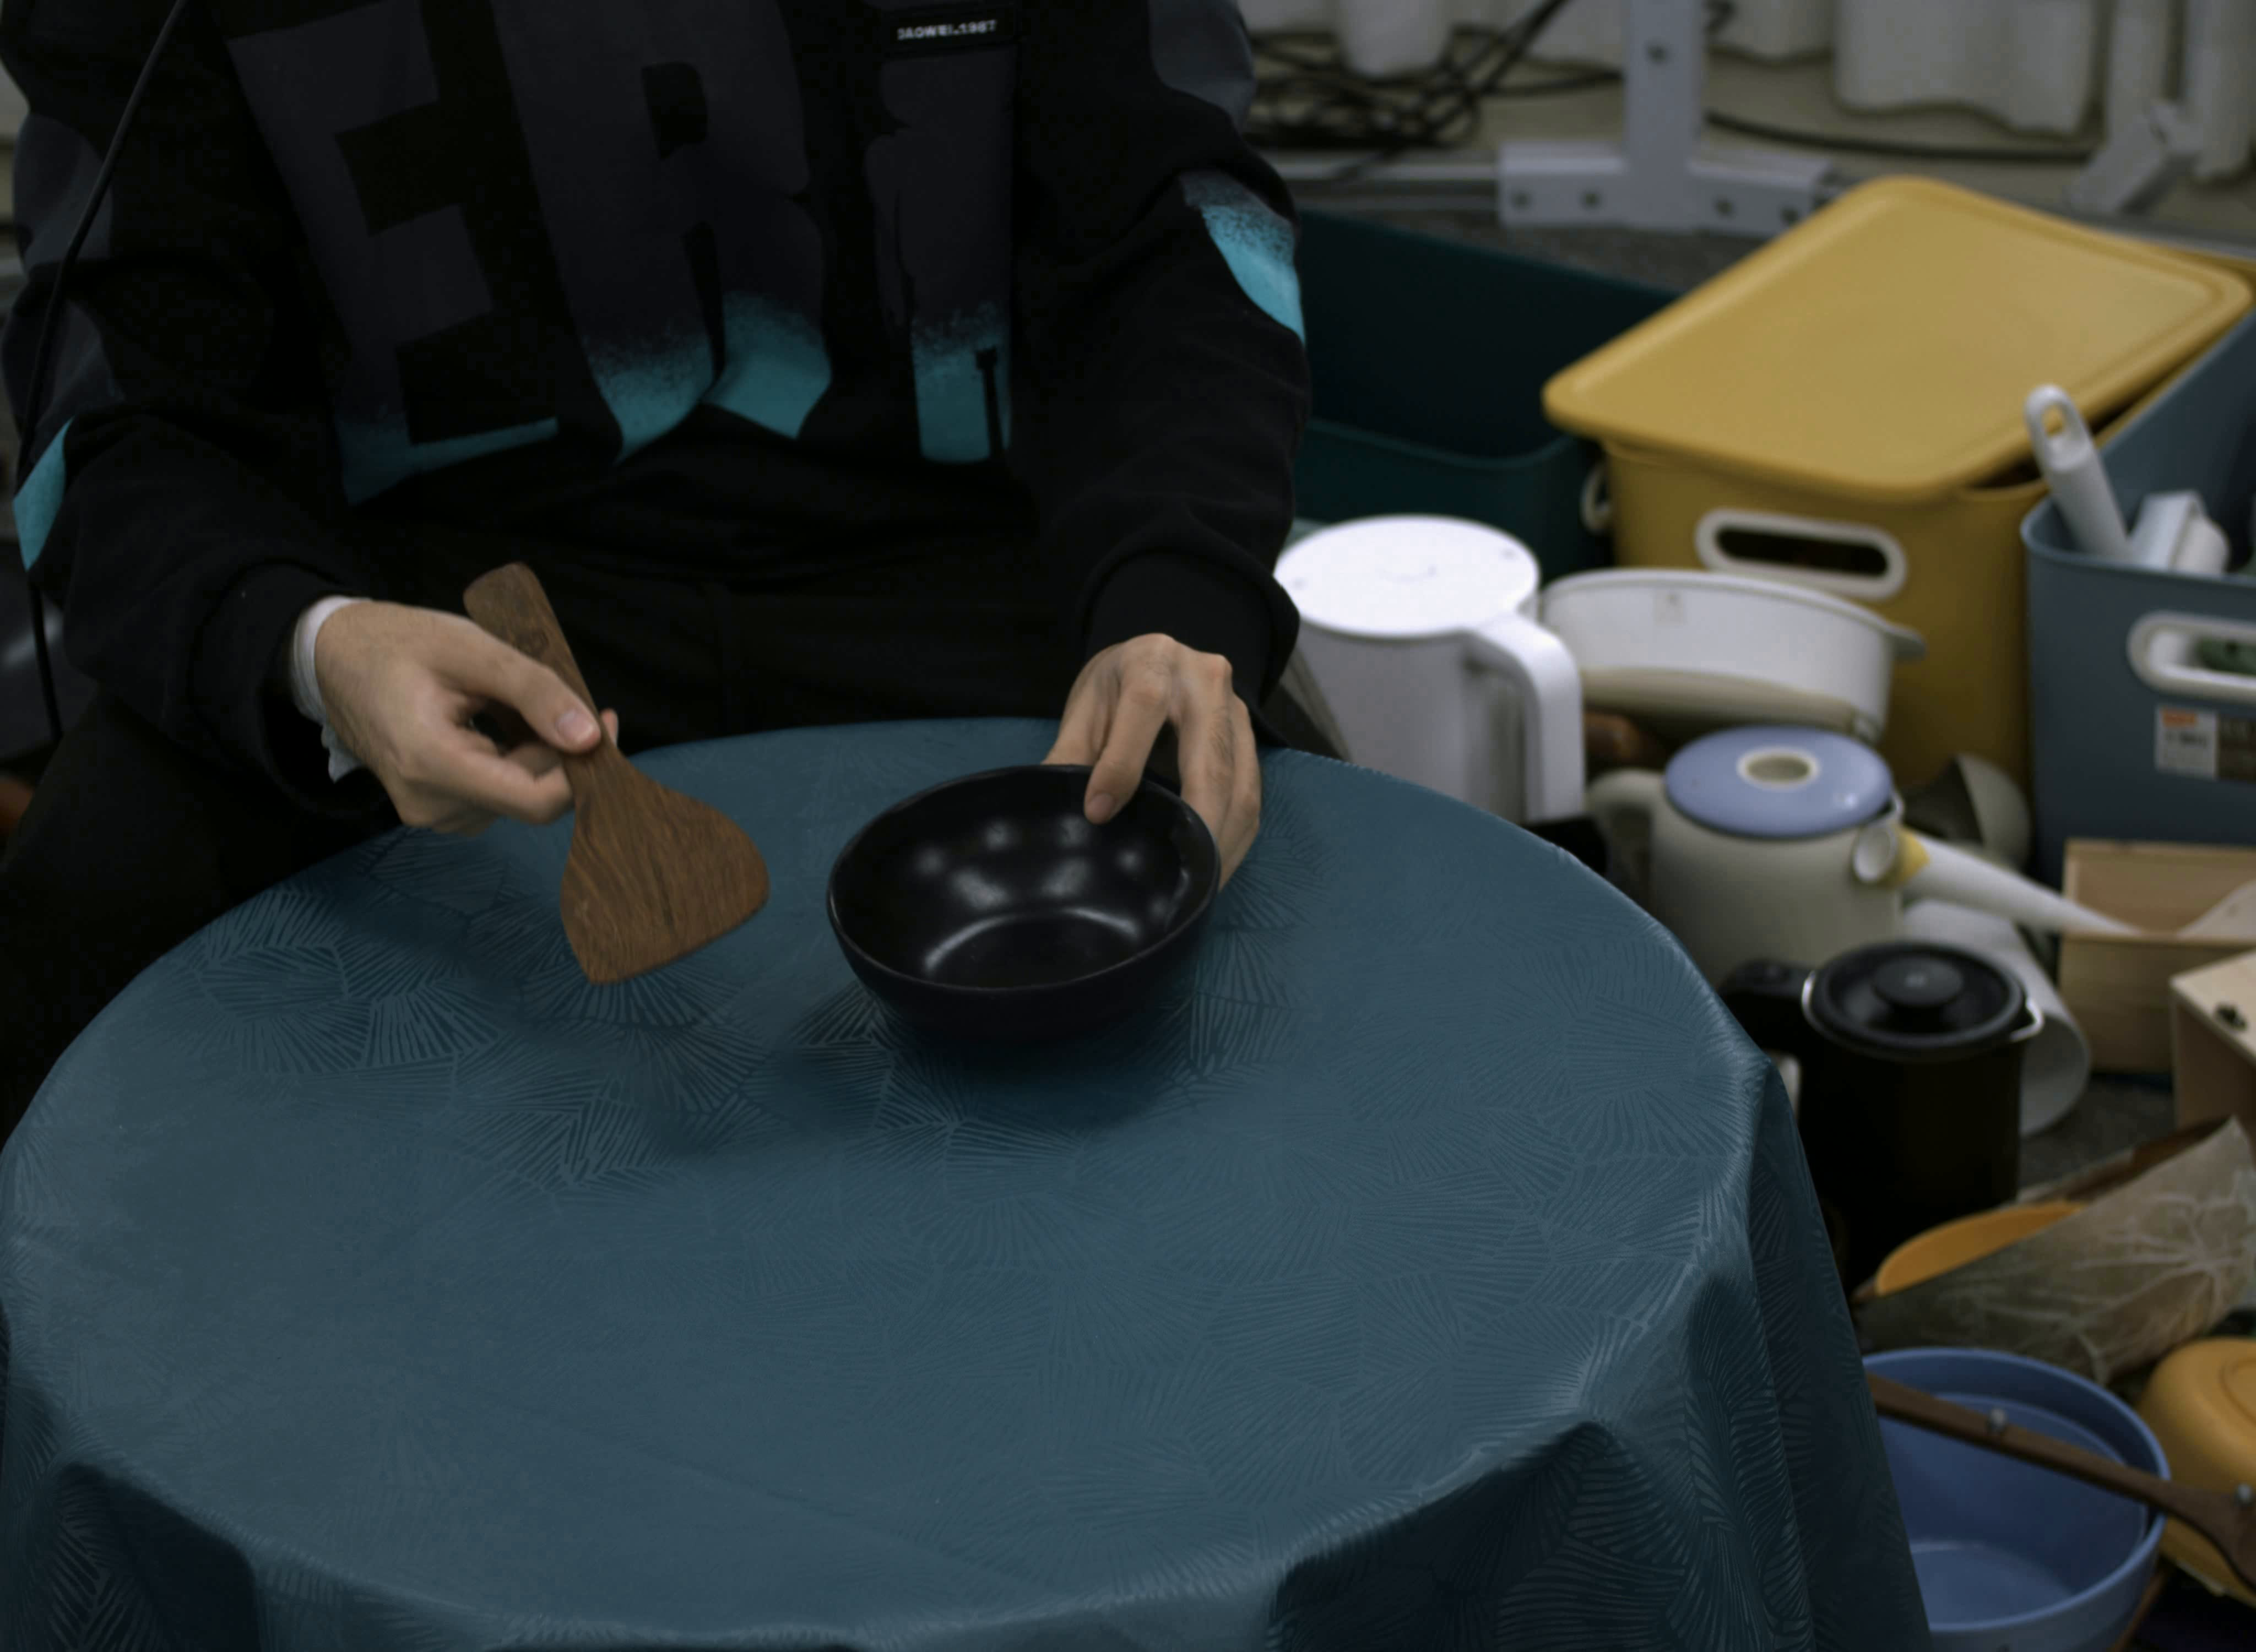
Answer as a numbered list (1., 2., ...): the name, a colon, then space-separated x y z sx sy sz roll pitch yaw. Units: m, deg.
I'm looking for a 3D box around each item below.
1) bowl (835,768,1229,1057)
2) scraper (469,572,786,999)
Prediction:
1. bowl: -0.030 0.039 1.962 0.139 0.049 0.142 -6 33 5
2. scraper: -0.186 -0.019 1.964 0.076 0.010 0.214 -25 48 -8
